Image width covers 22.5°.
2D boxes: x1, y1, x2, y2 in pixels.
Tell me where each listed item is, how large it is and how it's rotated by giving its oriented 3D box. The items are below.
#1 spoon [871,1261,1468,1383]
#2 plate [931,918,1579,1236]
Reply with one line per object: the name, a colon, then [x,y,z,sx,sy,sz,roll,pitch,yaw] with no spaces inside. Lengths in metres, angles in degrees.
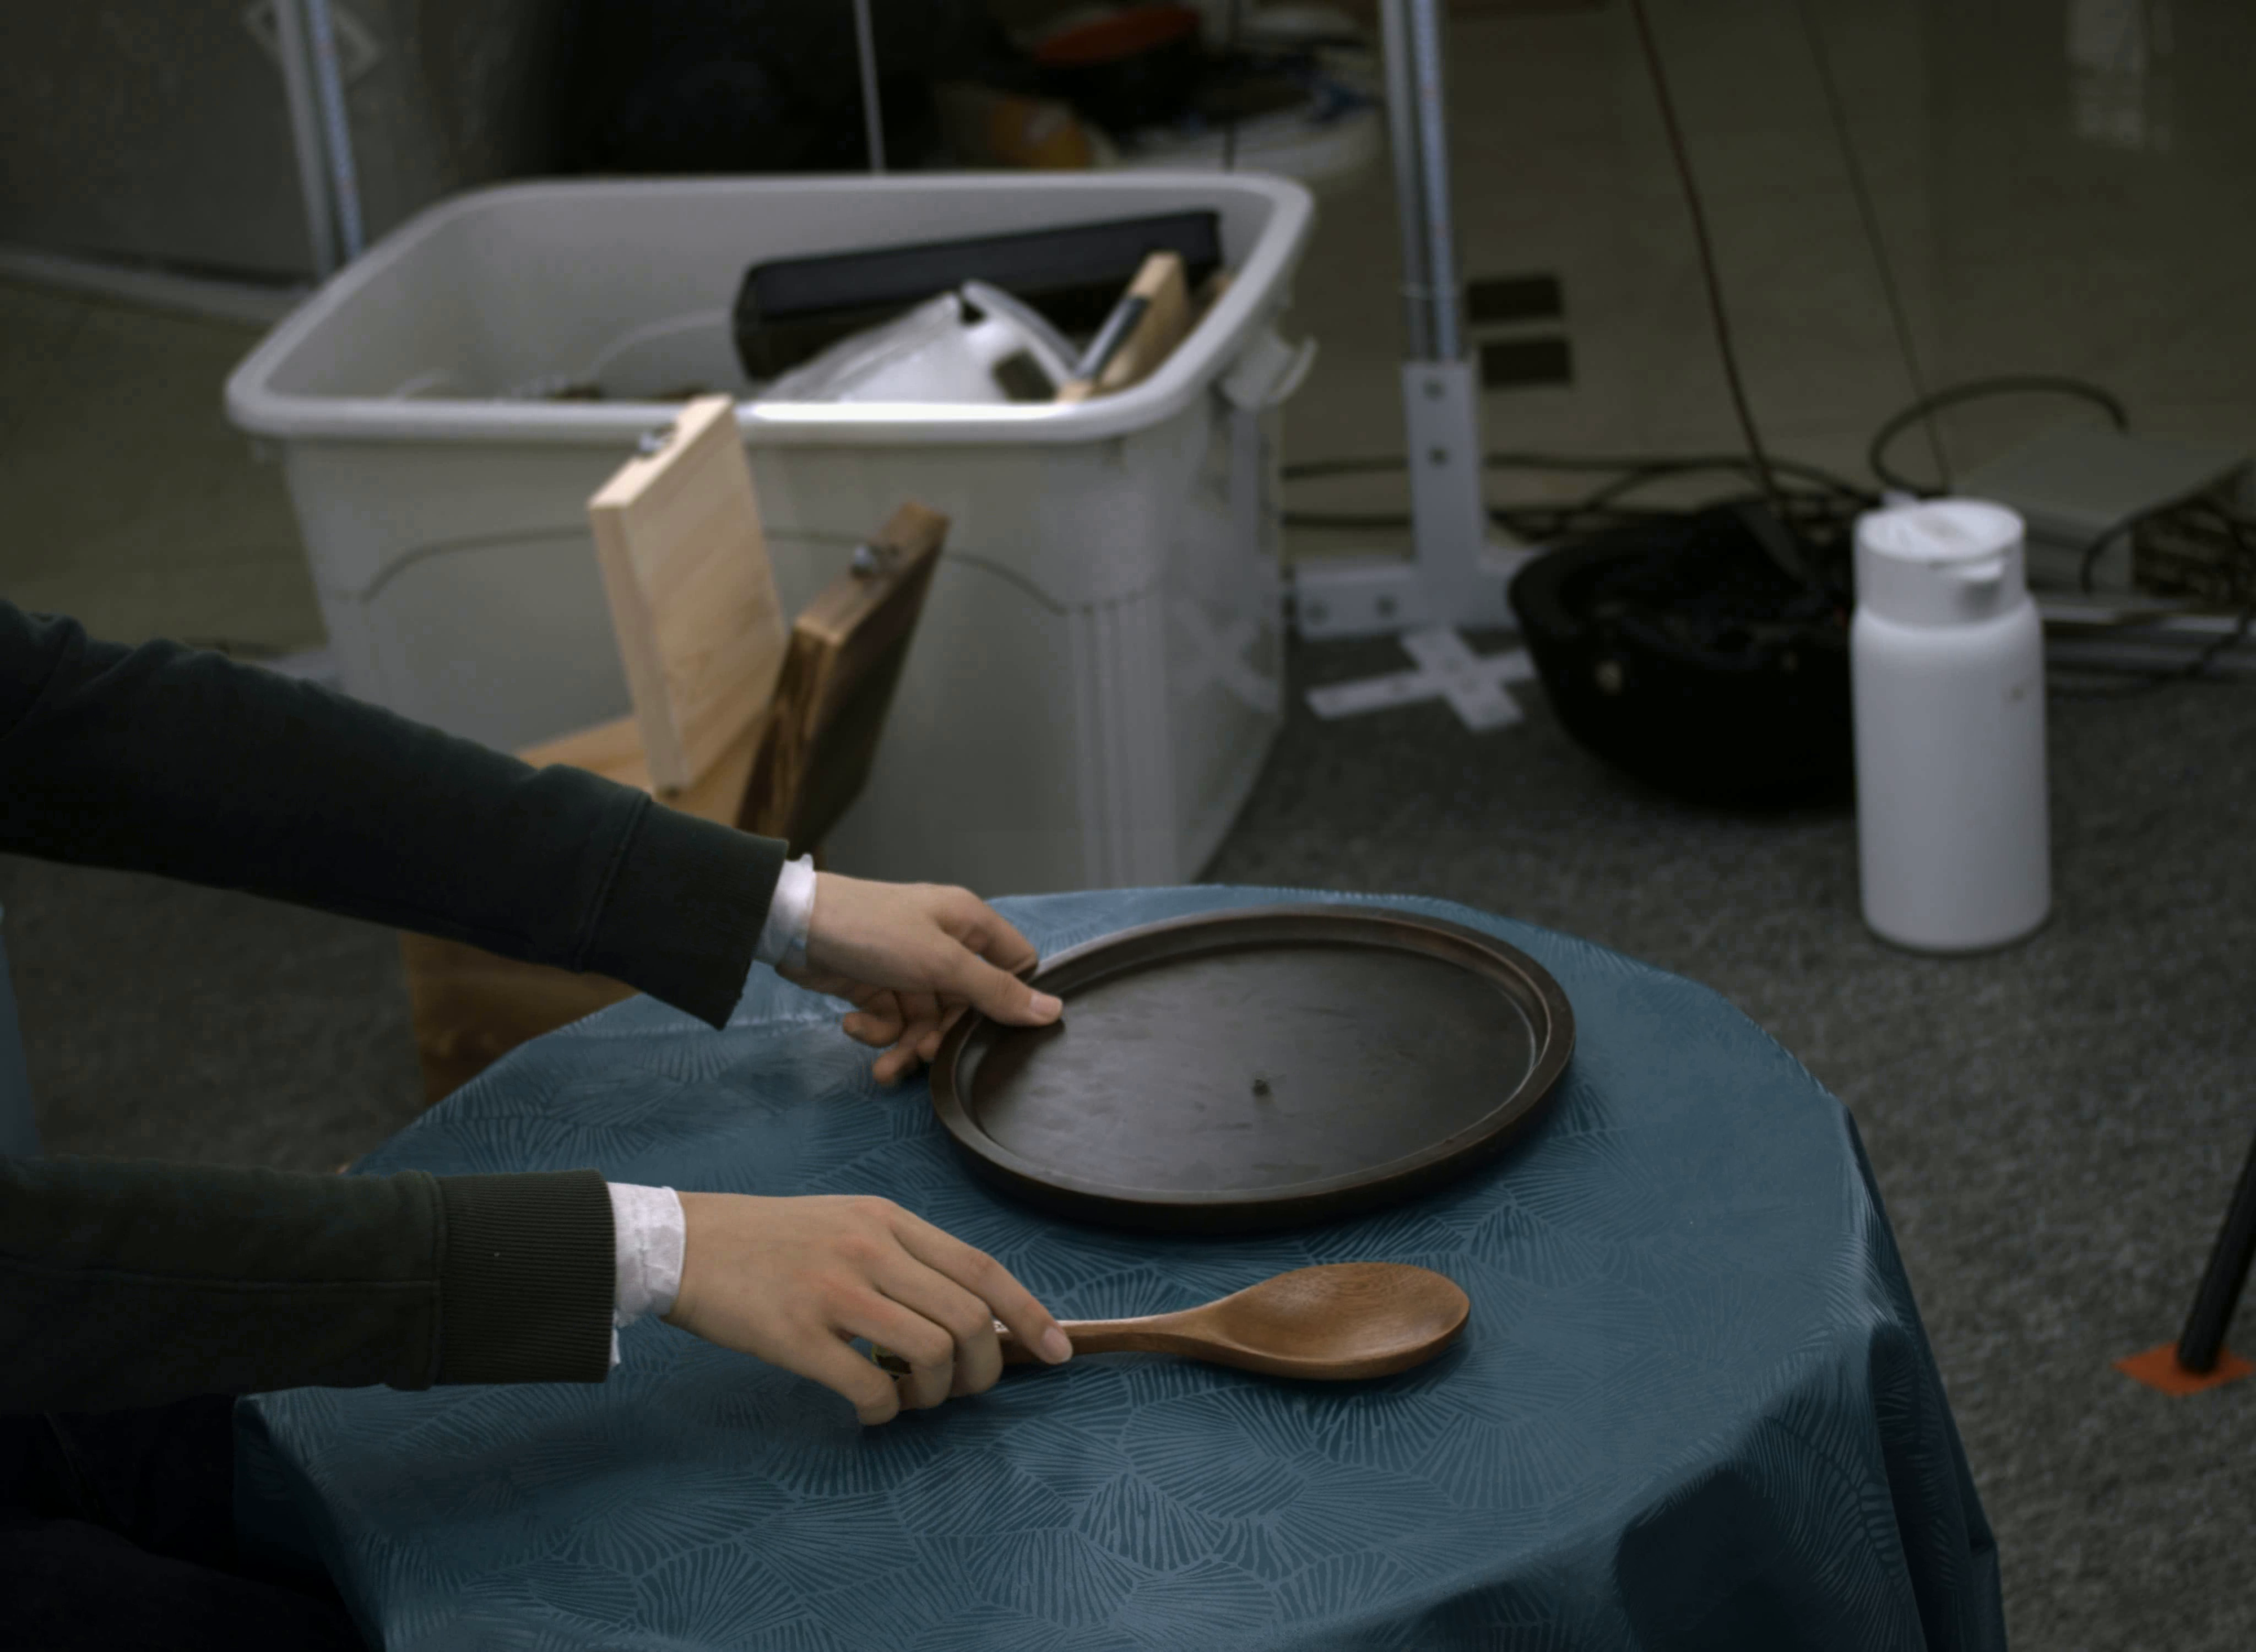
spoon: [0.014,0.183,2.035,0.215,0.017,0.074,-3,25,7]
plate: [0.049,0.096,2.208,0.254,0.029,0.251,-4,24,2]
